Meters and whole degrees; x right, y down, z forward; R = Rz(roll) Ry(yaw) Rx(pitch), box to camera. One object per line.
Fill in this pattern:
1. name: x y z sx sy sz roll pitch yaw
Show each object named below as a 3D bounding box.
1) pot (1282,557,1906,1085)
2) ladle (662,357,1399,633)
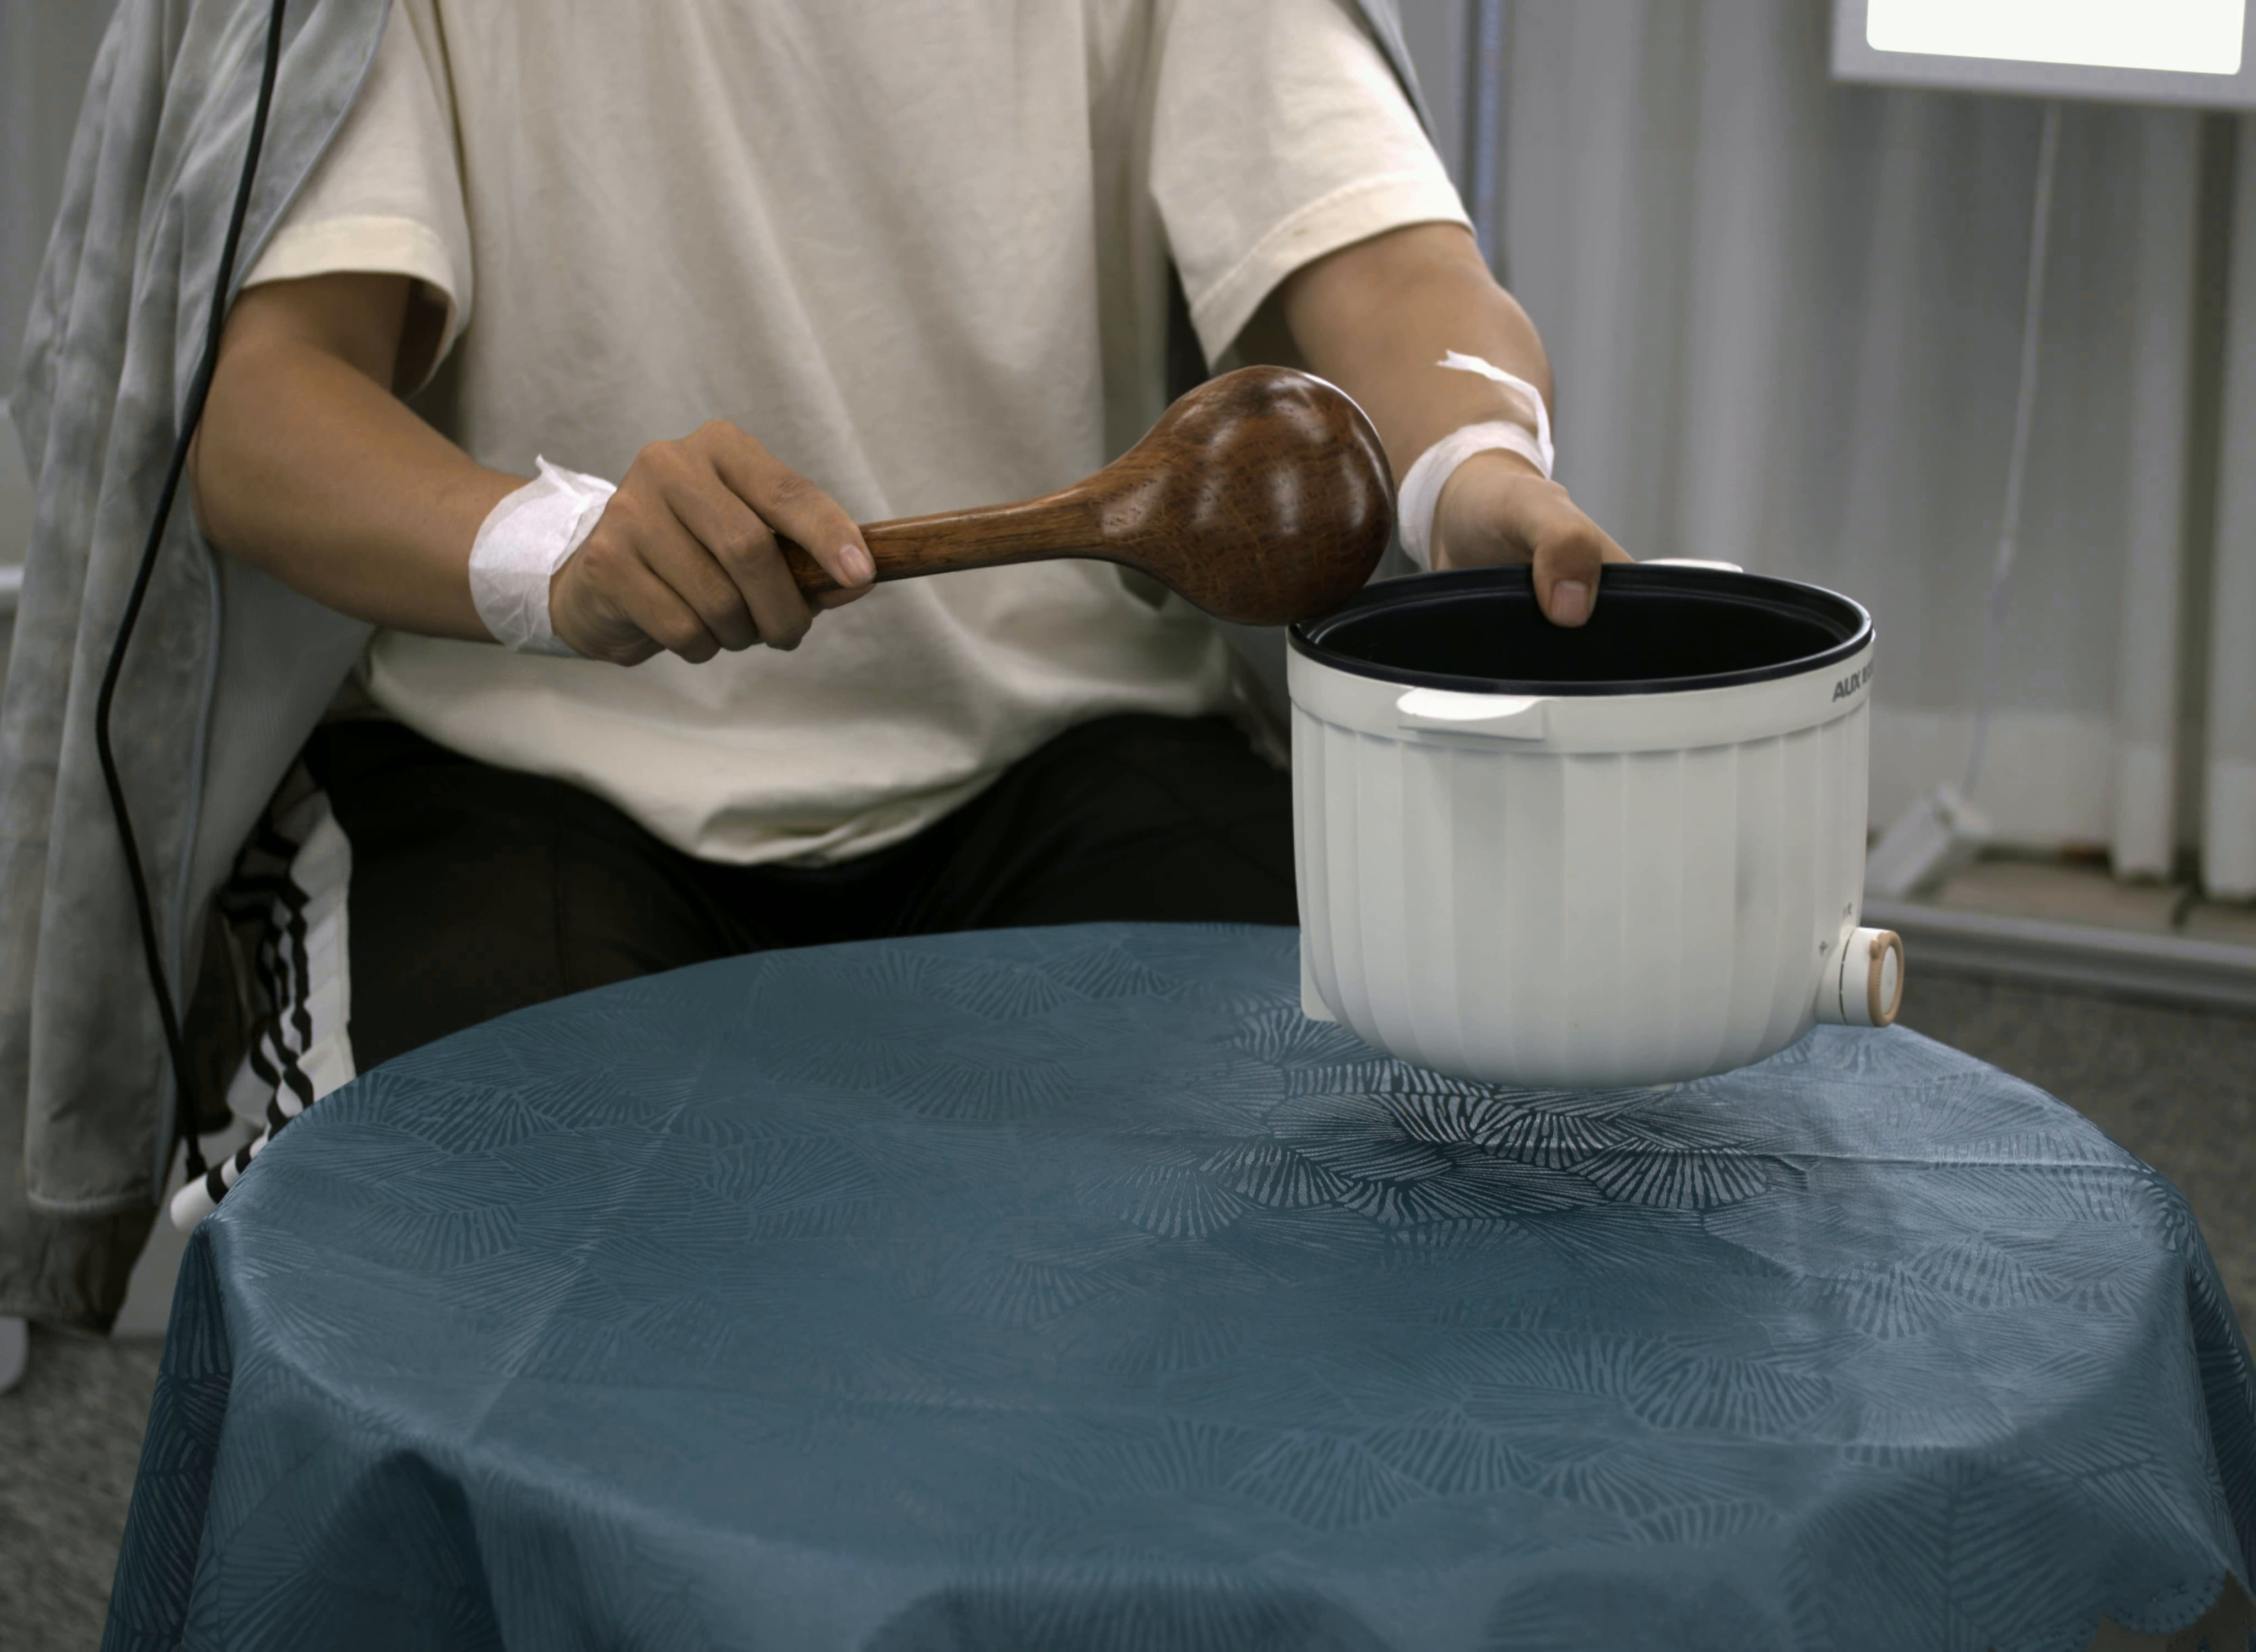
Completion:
1. pot: 0.146 0.000 1.644 0.188 0.144 0.241 1 15 24
2. ladle: -0.033 -0.093 1.688 0.271 0.082 0.077 -8 -7 43
